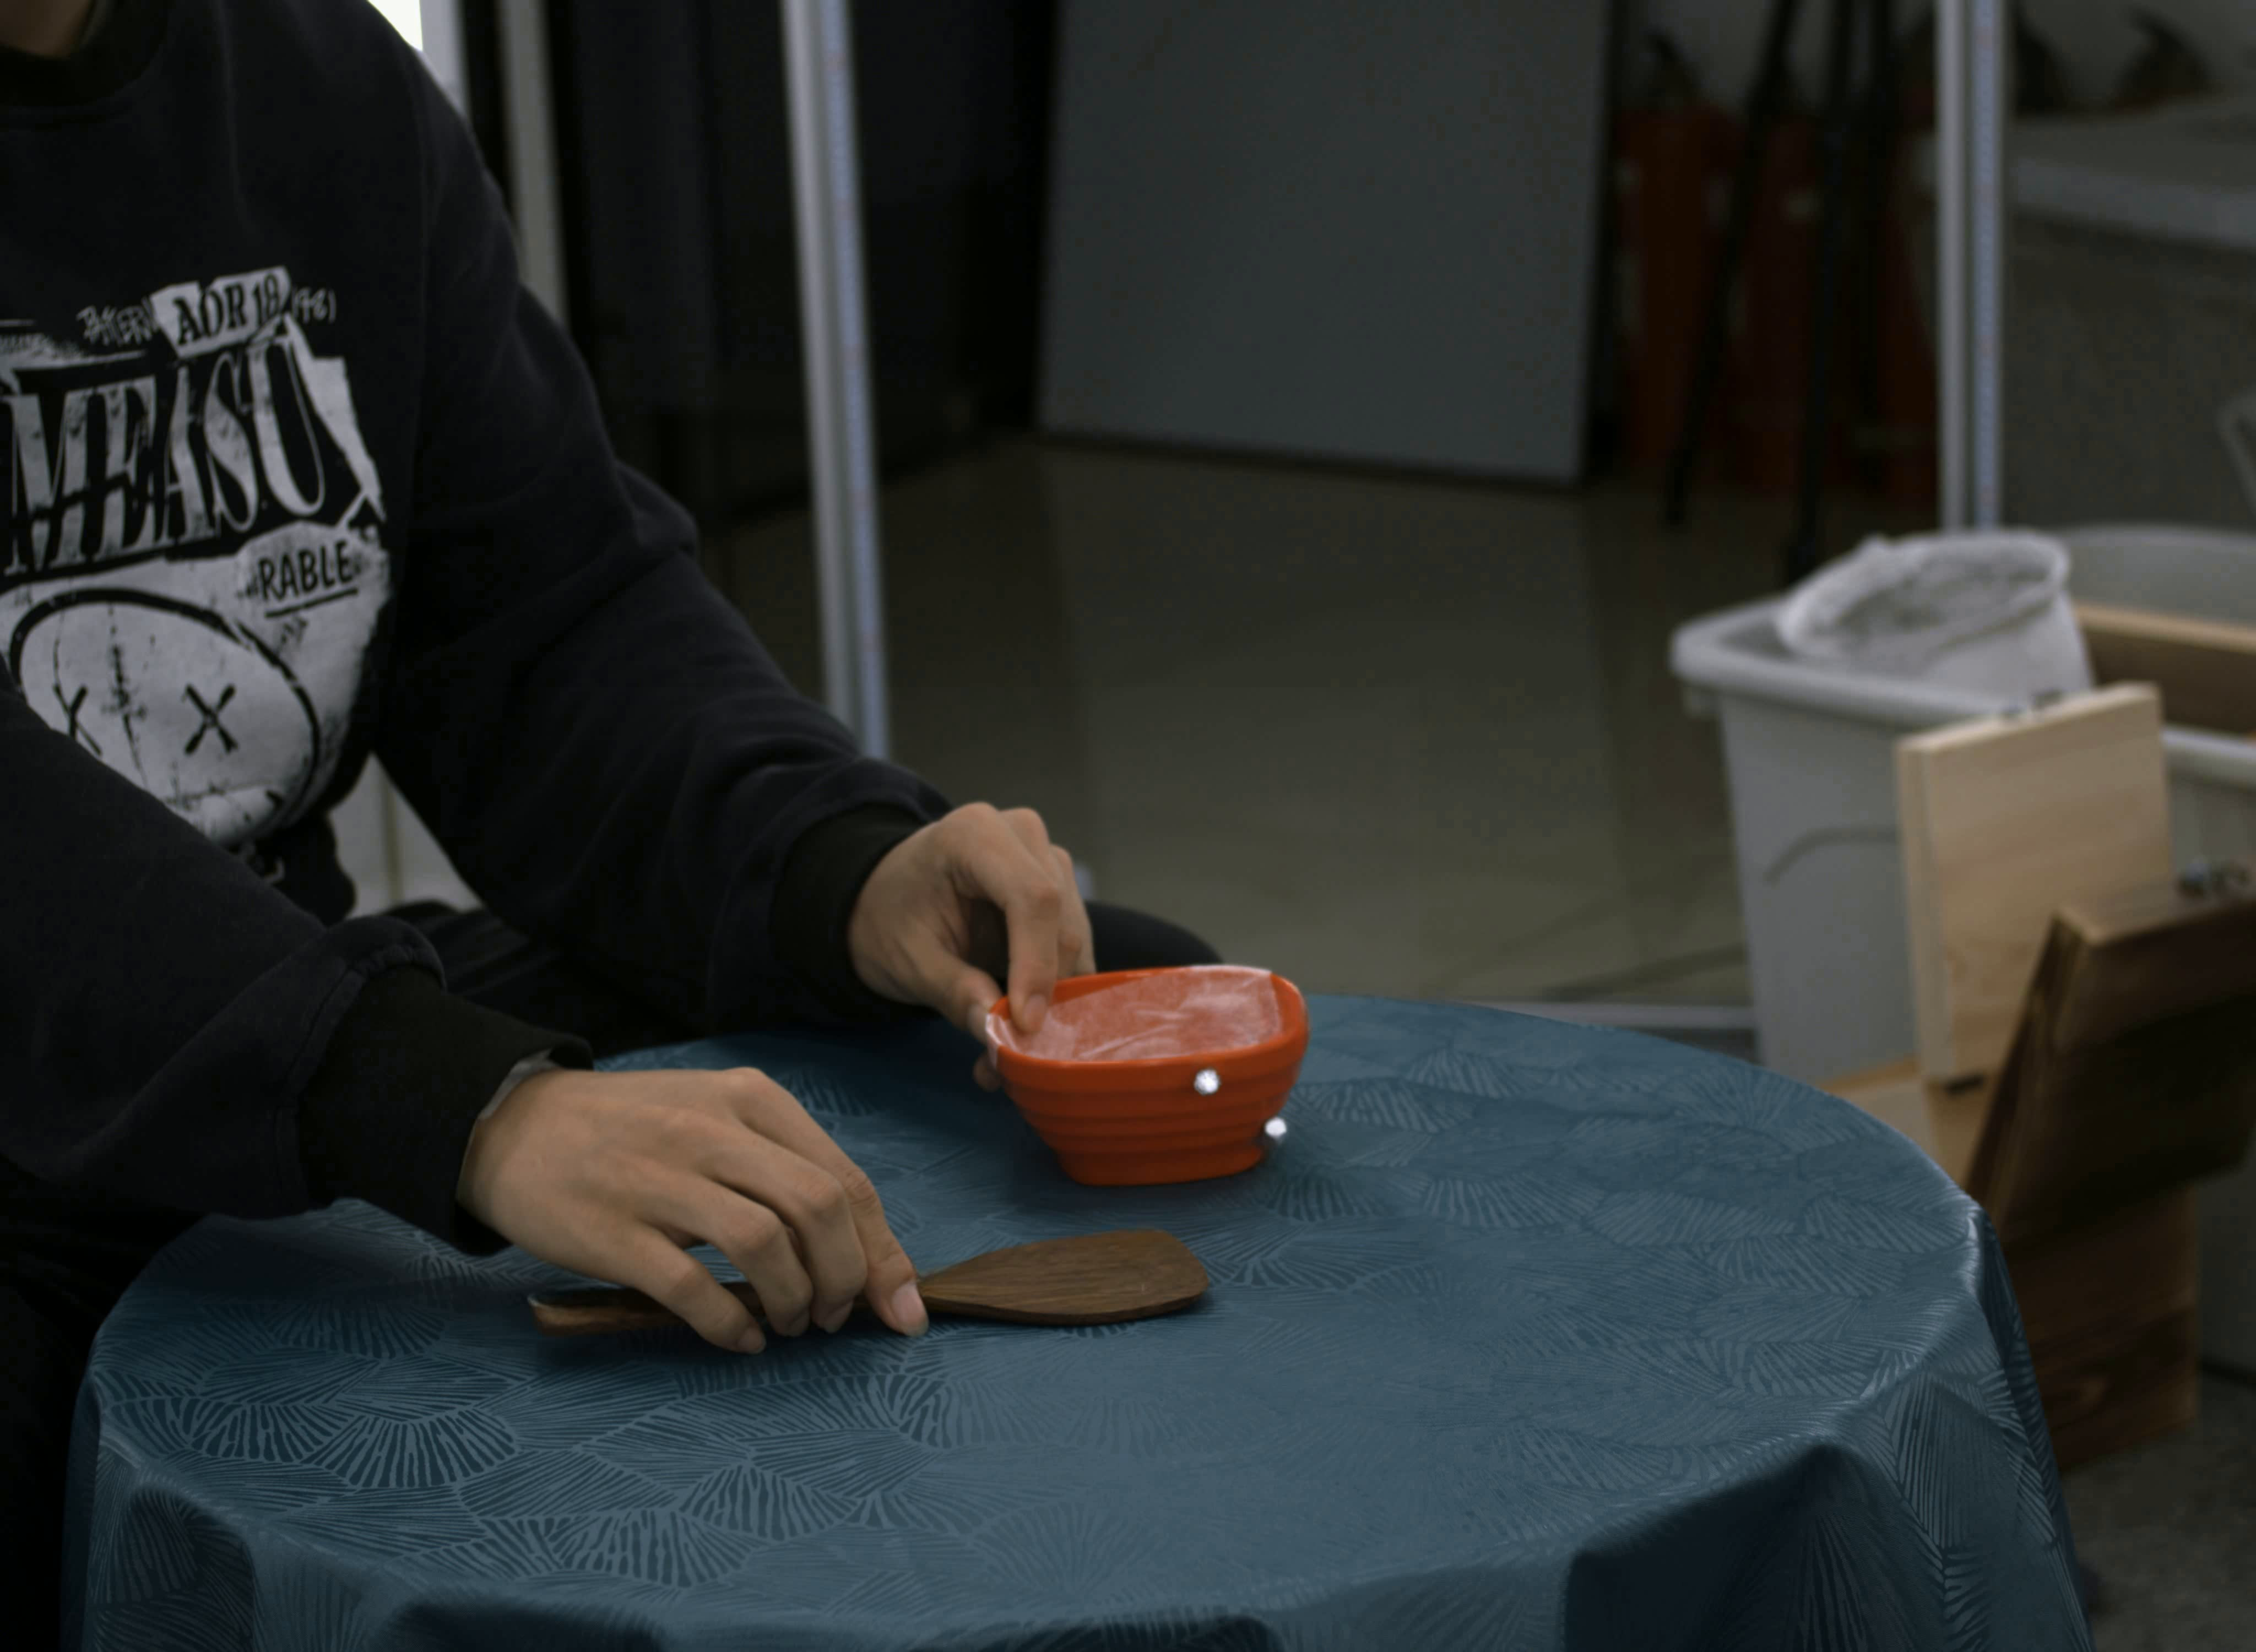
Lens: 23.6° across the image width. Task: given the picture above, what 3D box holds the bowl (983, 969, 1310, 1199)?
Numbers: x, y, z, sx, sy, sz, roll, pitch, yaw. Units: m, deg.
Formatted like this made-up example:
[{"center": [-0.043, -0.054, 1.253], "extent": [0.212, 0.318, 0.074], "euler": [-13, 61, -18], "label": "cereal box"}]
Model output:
[{"center": [0.008, 0.089, 1.802], "extent": [0.117, 0.052, 0.119], "euler": [-5, 15, 0], "label": "bowl"}]

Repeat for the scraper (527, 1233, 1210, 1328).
[{"center": [-0.080, 0.144, 1.662], "extent": [0.207, 0.011, 0.076], "euler": [-2, 12, -12], "label": "scraper"}]
